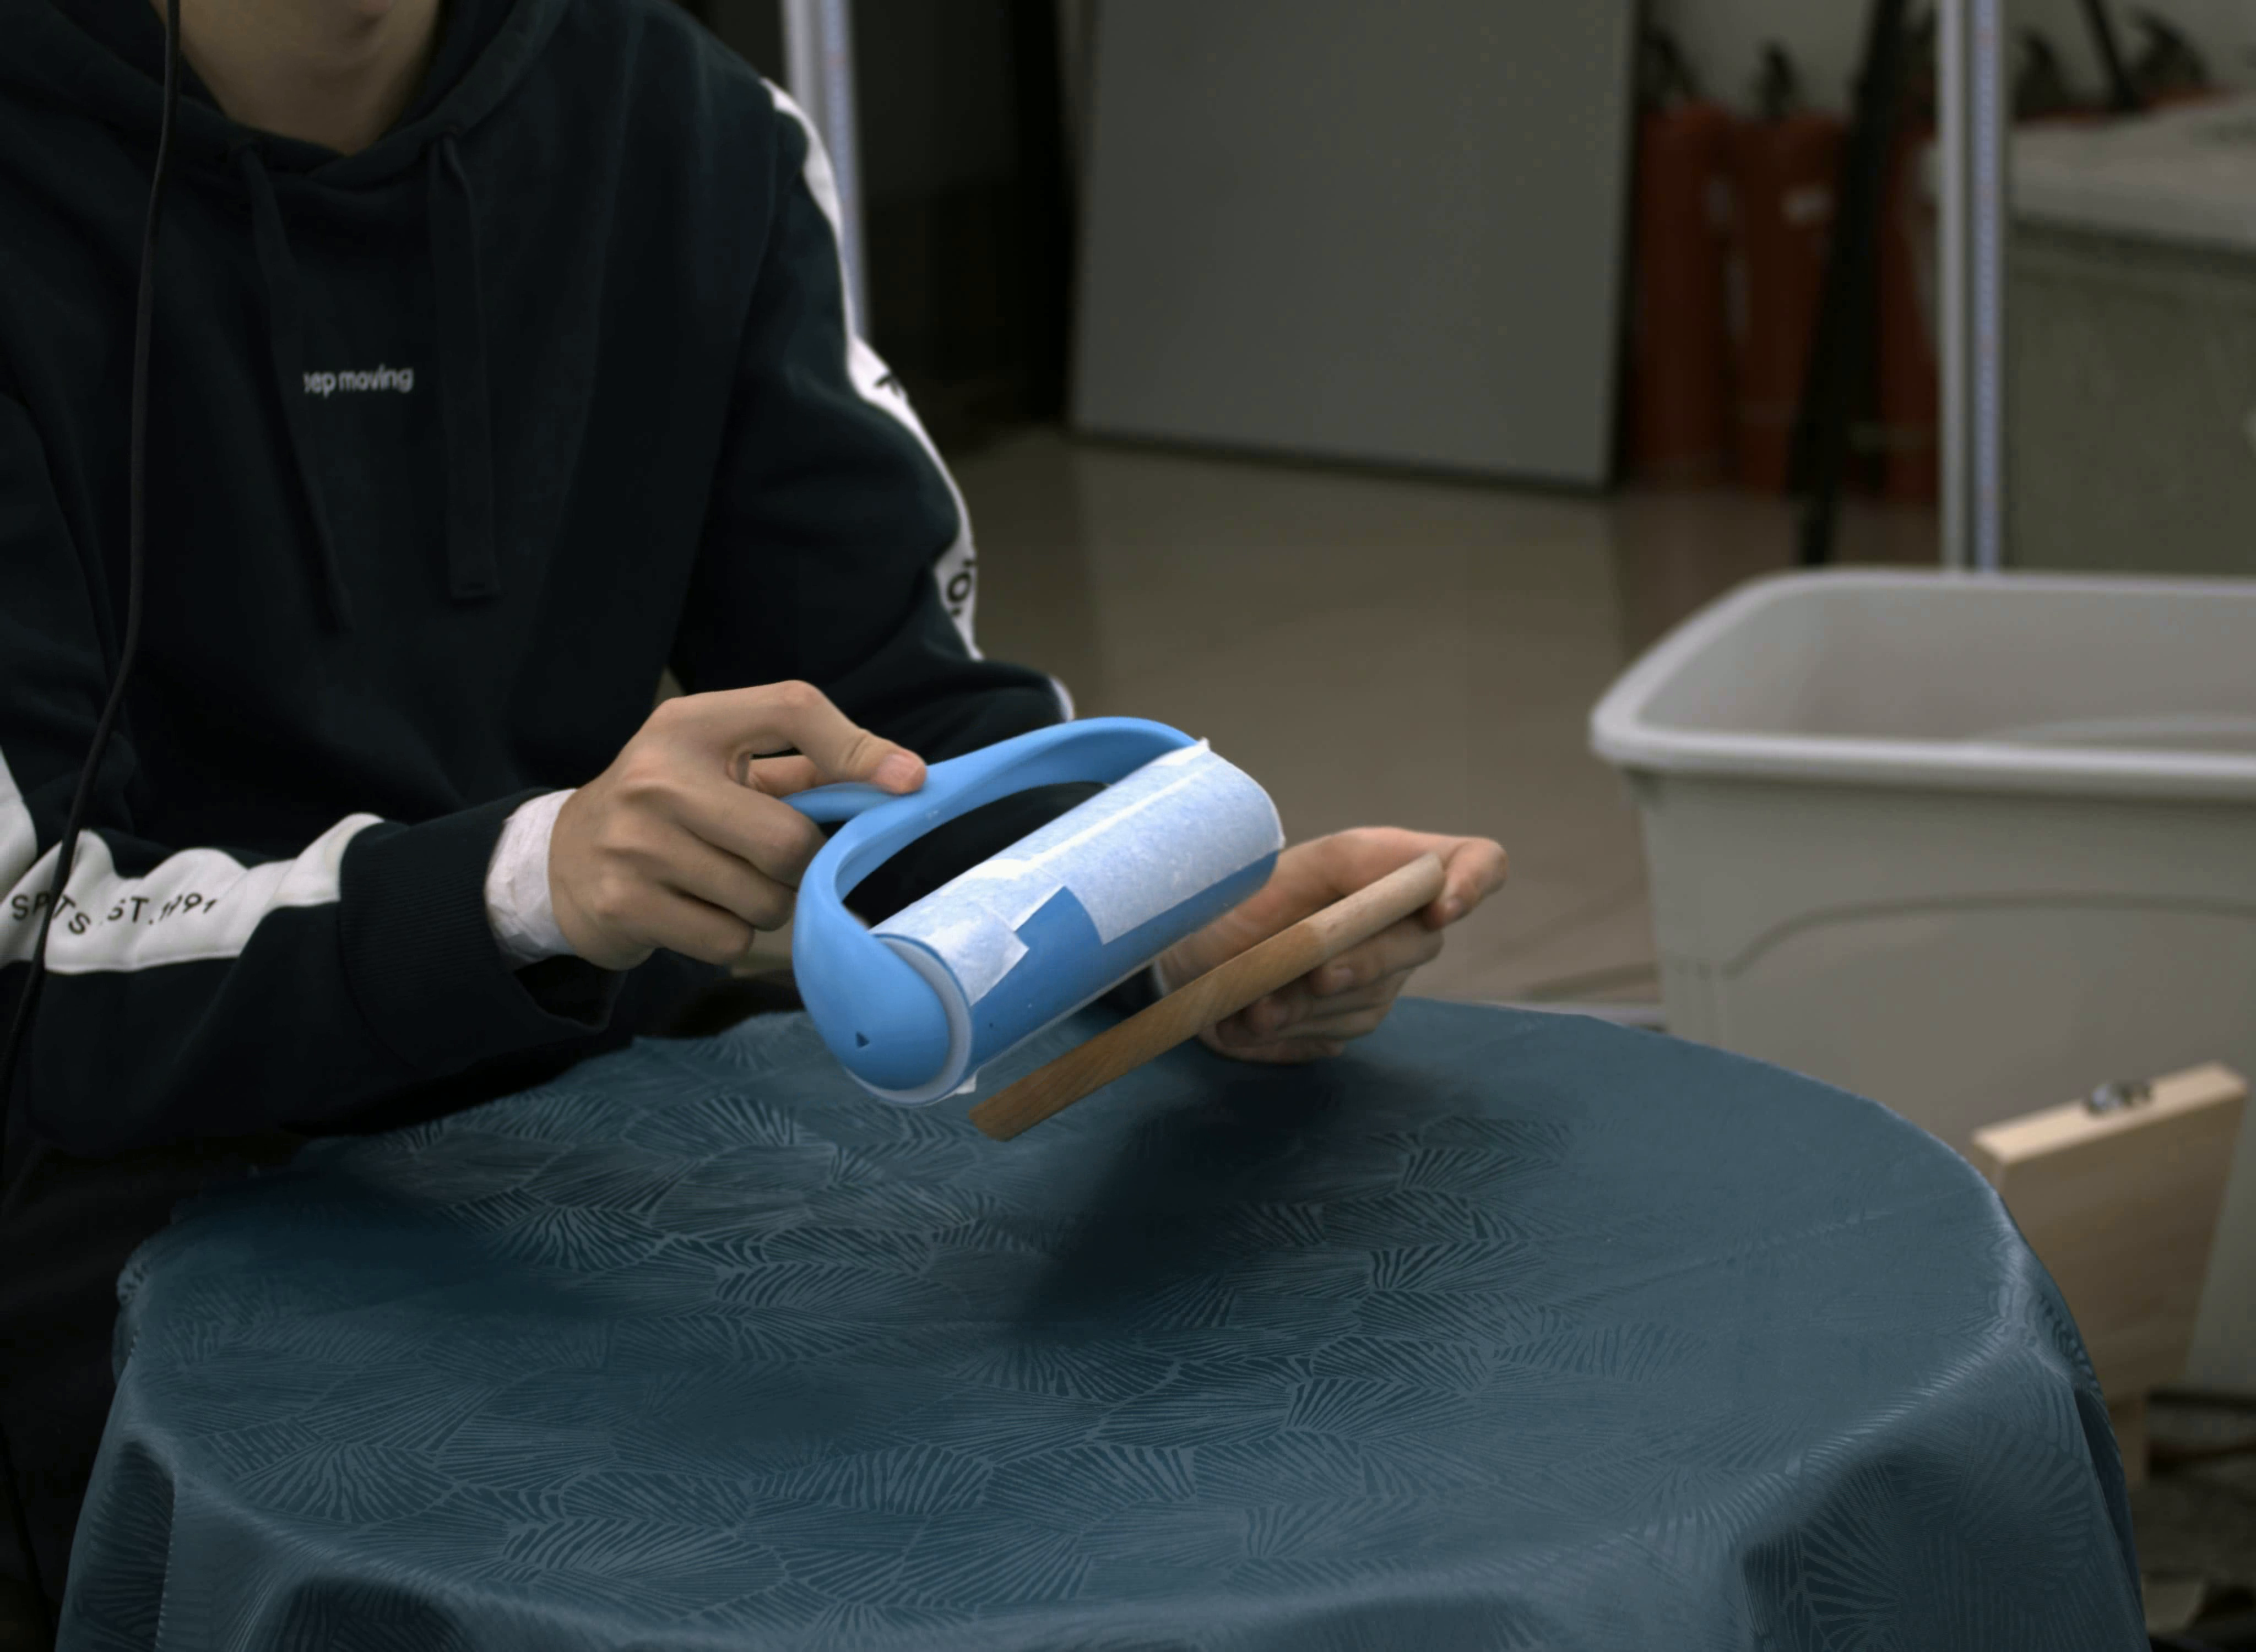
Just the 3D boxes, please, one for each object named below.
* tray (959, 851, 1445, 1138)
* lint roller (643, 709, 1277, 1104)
[{"bbox_3d":[0.029,0.053,1.741,0.131,0.023,0.248,-34,-4,16],"label":"tray"},{"bbox_3d":[-0.073,0.016,1.653,0.180,0.068,0.226,9,23,26],"label":"lint roller"}]
